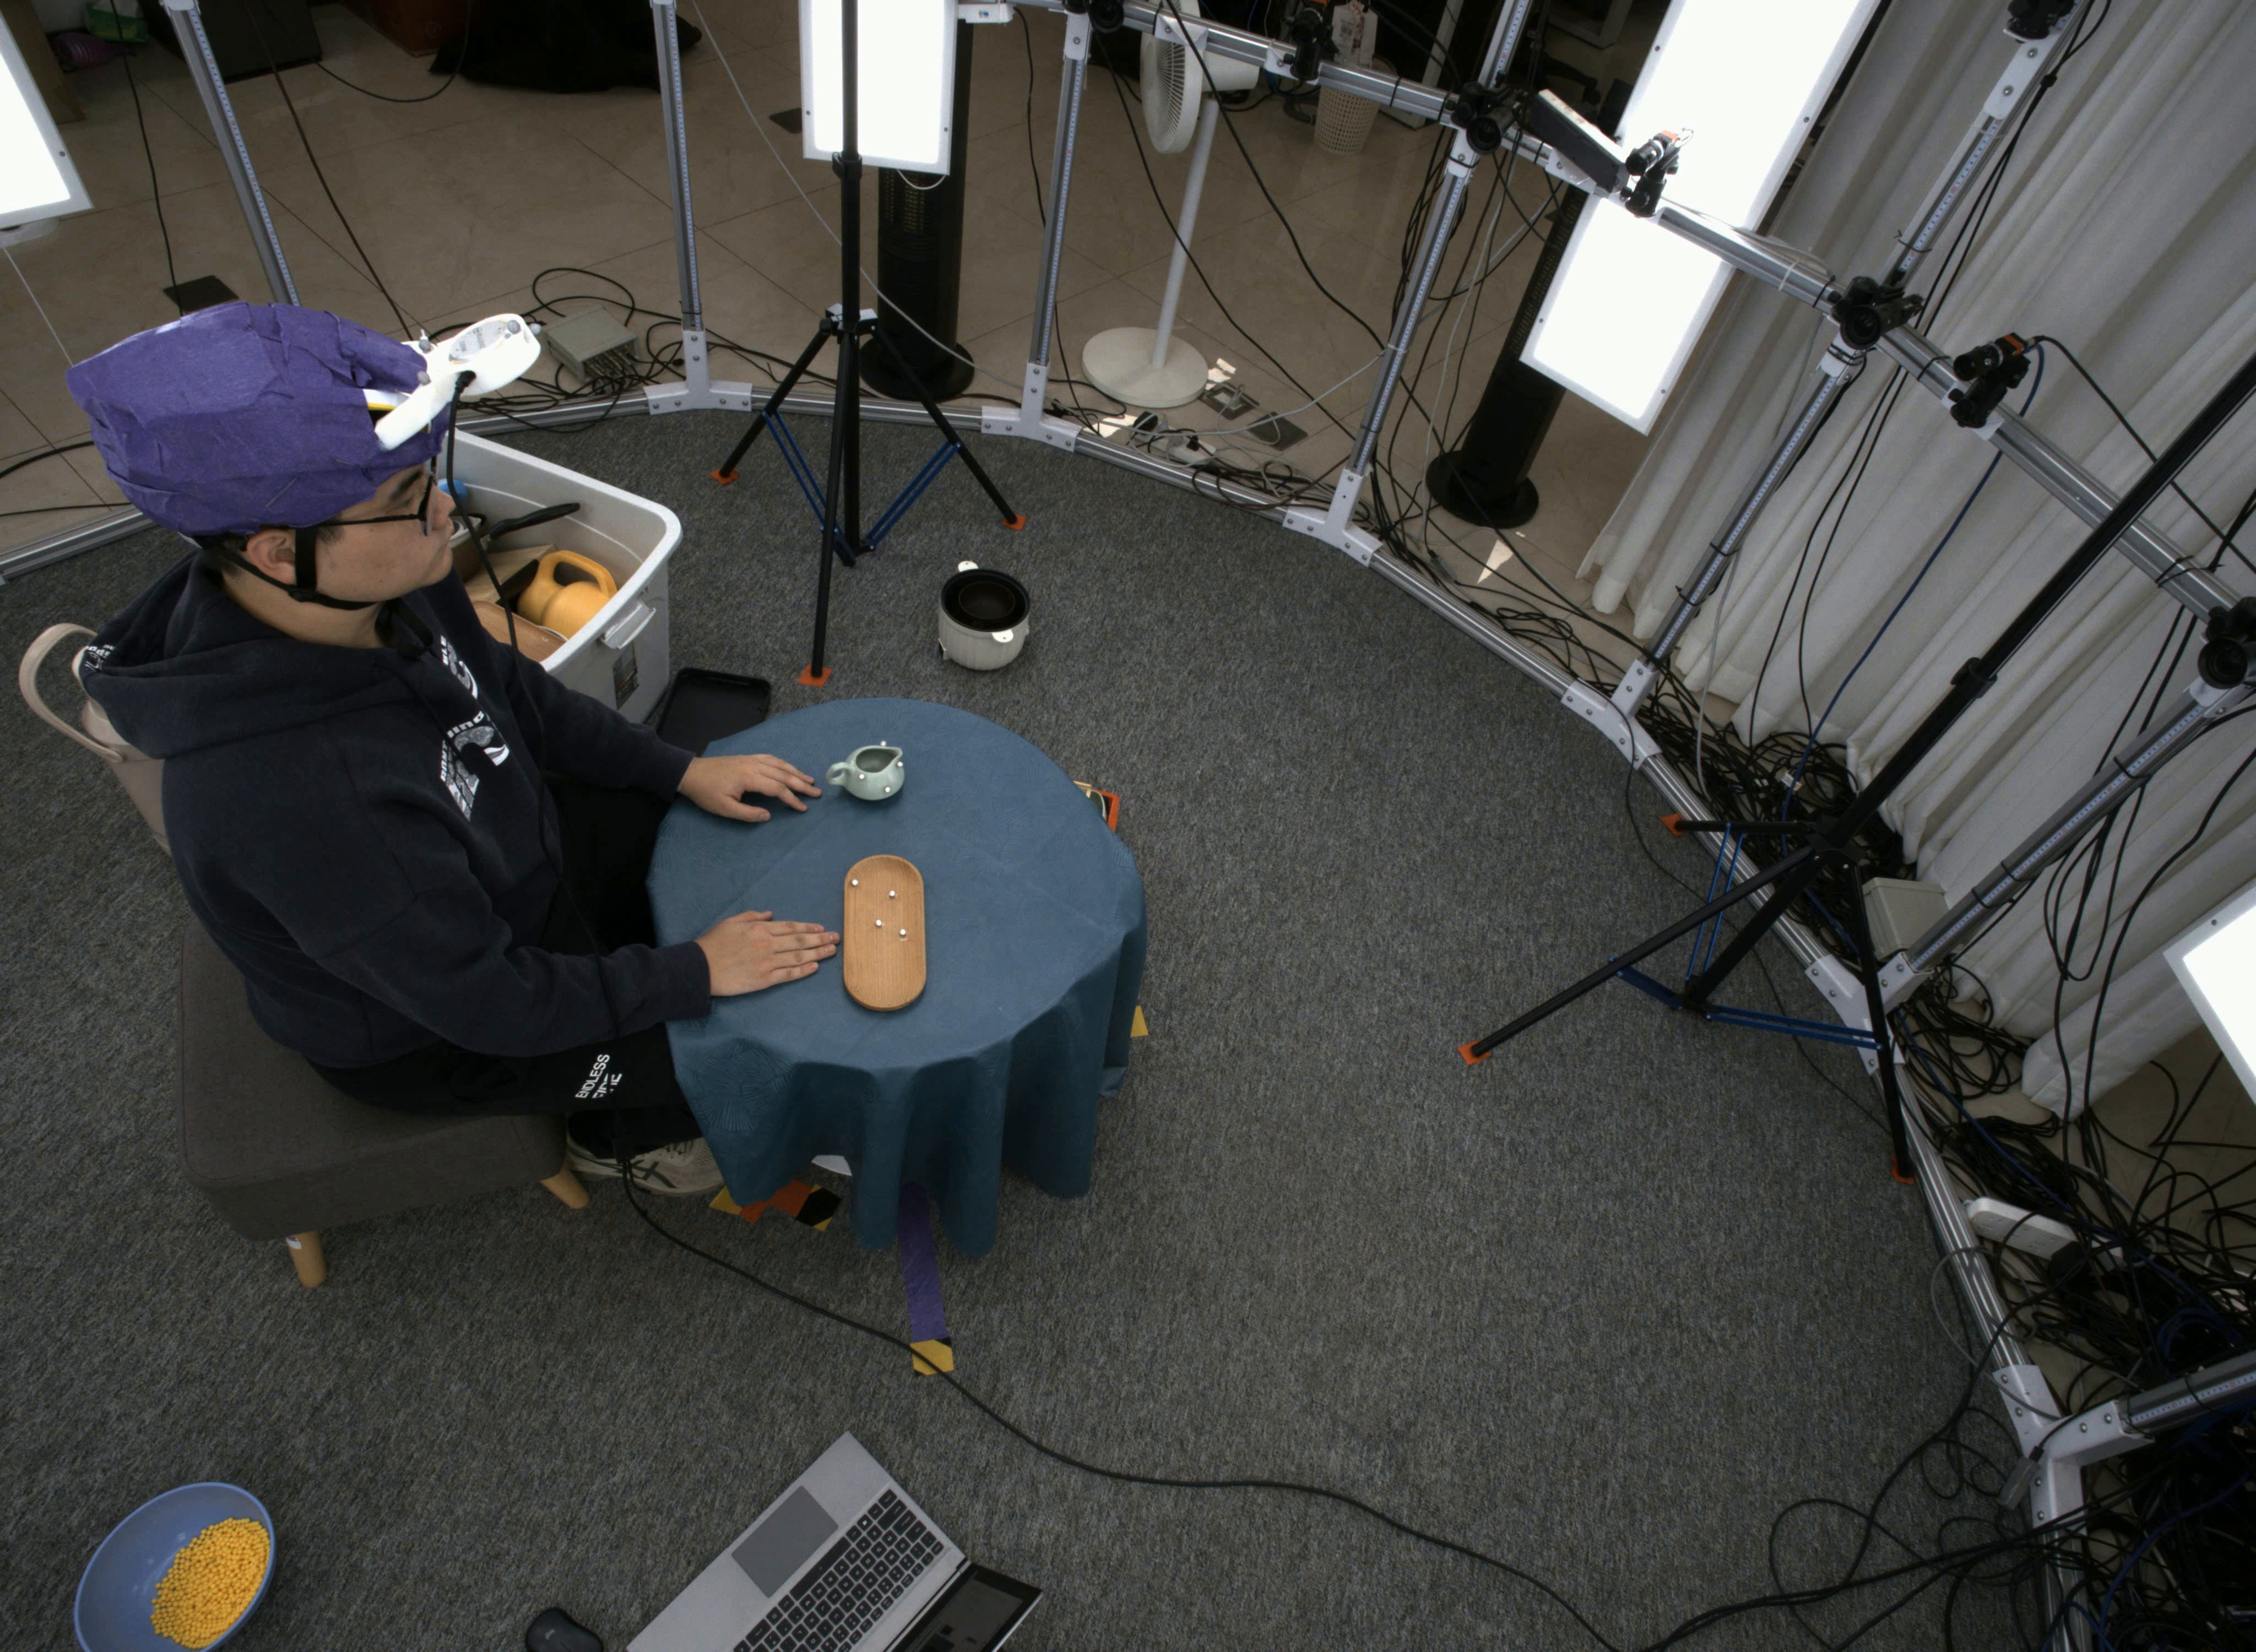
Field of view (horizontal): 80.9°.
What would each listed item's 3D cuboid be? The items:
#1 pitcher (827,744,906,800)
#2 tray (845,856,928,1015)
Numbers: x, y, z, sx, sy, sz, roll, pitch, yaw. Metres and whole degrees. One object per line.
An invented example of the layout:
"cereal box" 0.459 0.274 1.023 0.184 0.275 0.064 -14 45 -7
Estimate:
"pitcher" -0.354 -0.073 1.757 0.108 0.062 0.084 -20 59 -23
"tray" -0.306 0.134 1.639 0.102 0.021 0.226 0 56 -13
